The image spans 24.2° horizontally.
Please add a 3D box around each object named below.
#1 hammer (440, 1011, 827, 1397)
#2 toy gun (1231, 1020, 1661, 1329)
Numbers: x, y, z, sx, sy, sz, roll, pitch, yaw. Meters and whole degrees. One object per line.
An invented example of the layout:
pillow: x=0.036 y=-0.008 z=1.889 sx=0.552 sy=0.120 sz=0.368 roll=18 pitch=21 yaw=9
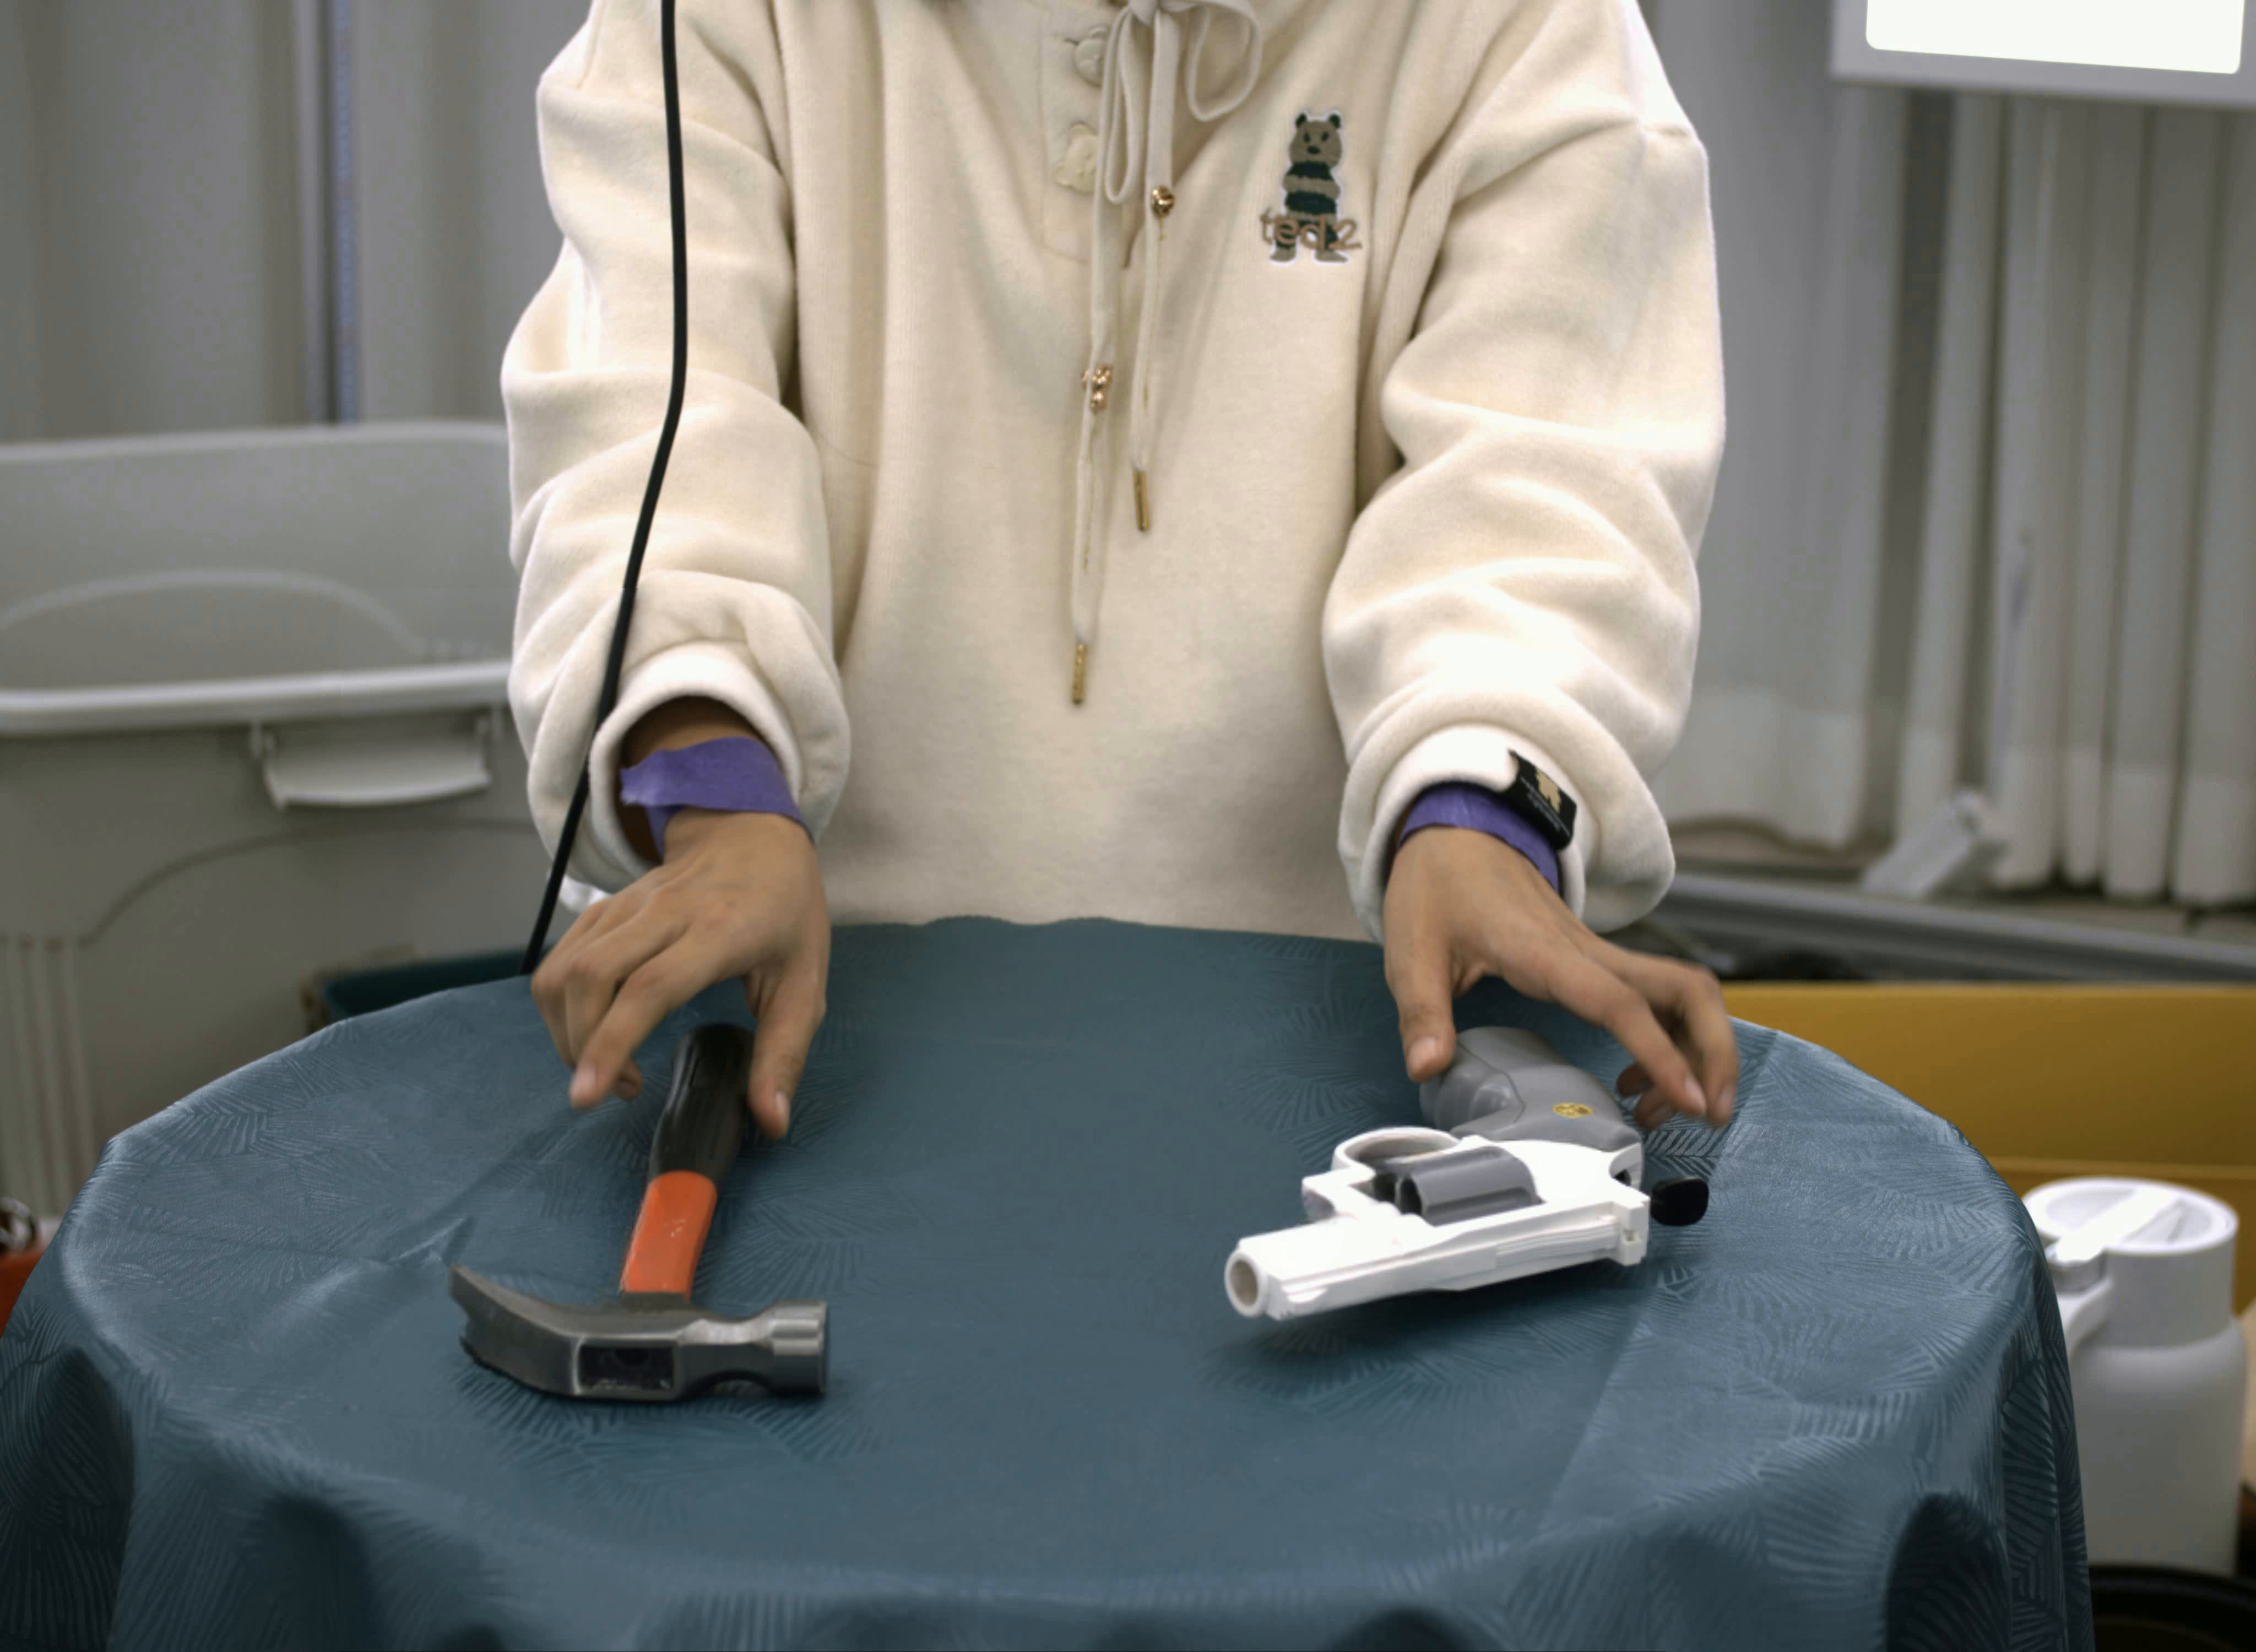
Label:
hammer: x=-0.136 y=0.108 z=1.572 sx=0.110 sy=0.026 sz=0.276 roll=-8 pitch=15 yaw=4
toy gun: x=0.087 y=0.105 z=1.574 sx=0.210 sy=0.039 sz=0.139 roll=-10 pitch=21 yaw=-38
